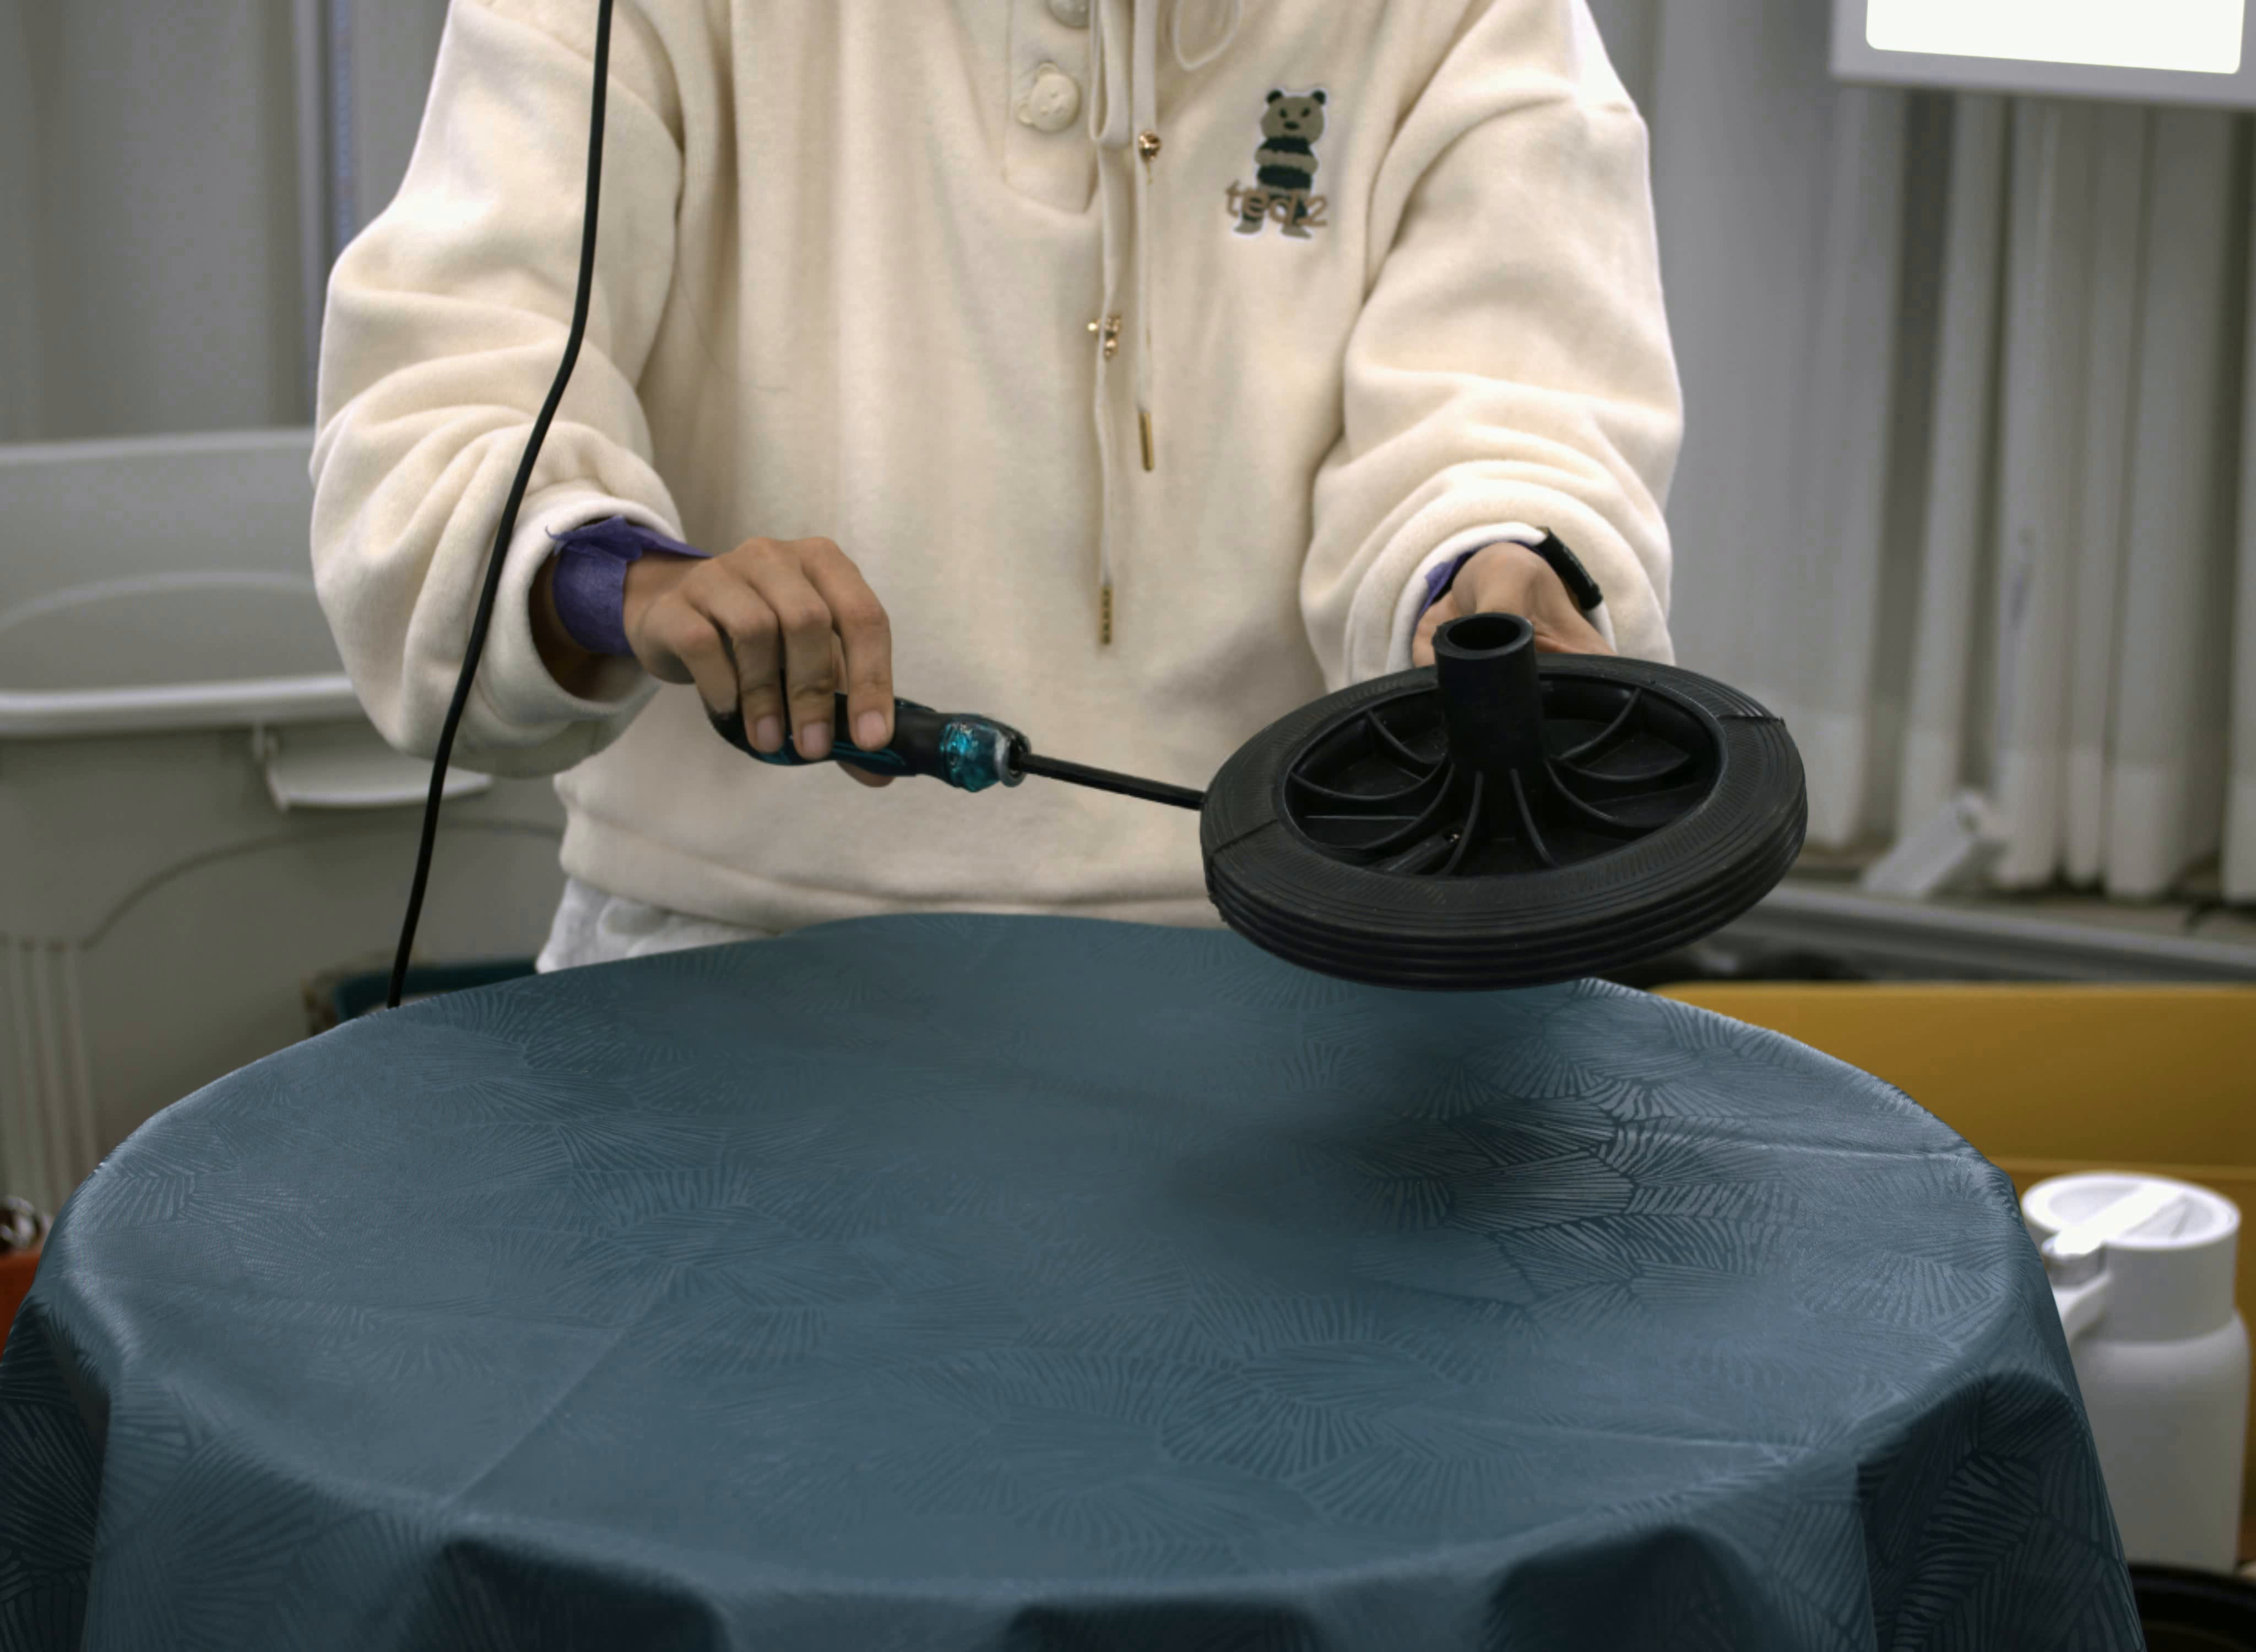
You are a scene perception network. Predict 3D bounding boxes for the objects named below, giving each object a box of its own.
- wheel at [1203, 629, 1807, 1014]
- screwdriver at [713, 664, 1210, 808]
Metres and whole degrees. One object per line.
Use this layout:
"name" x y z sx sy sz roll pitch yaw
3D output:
"wheel" 0.113 -0.018 1.615 0.185 0.080 0.189 4 32 22
"screwdriver" -0.054 -0.023 1.704 0.187 0.034 0.034 12 20 31
